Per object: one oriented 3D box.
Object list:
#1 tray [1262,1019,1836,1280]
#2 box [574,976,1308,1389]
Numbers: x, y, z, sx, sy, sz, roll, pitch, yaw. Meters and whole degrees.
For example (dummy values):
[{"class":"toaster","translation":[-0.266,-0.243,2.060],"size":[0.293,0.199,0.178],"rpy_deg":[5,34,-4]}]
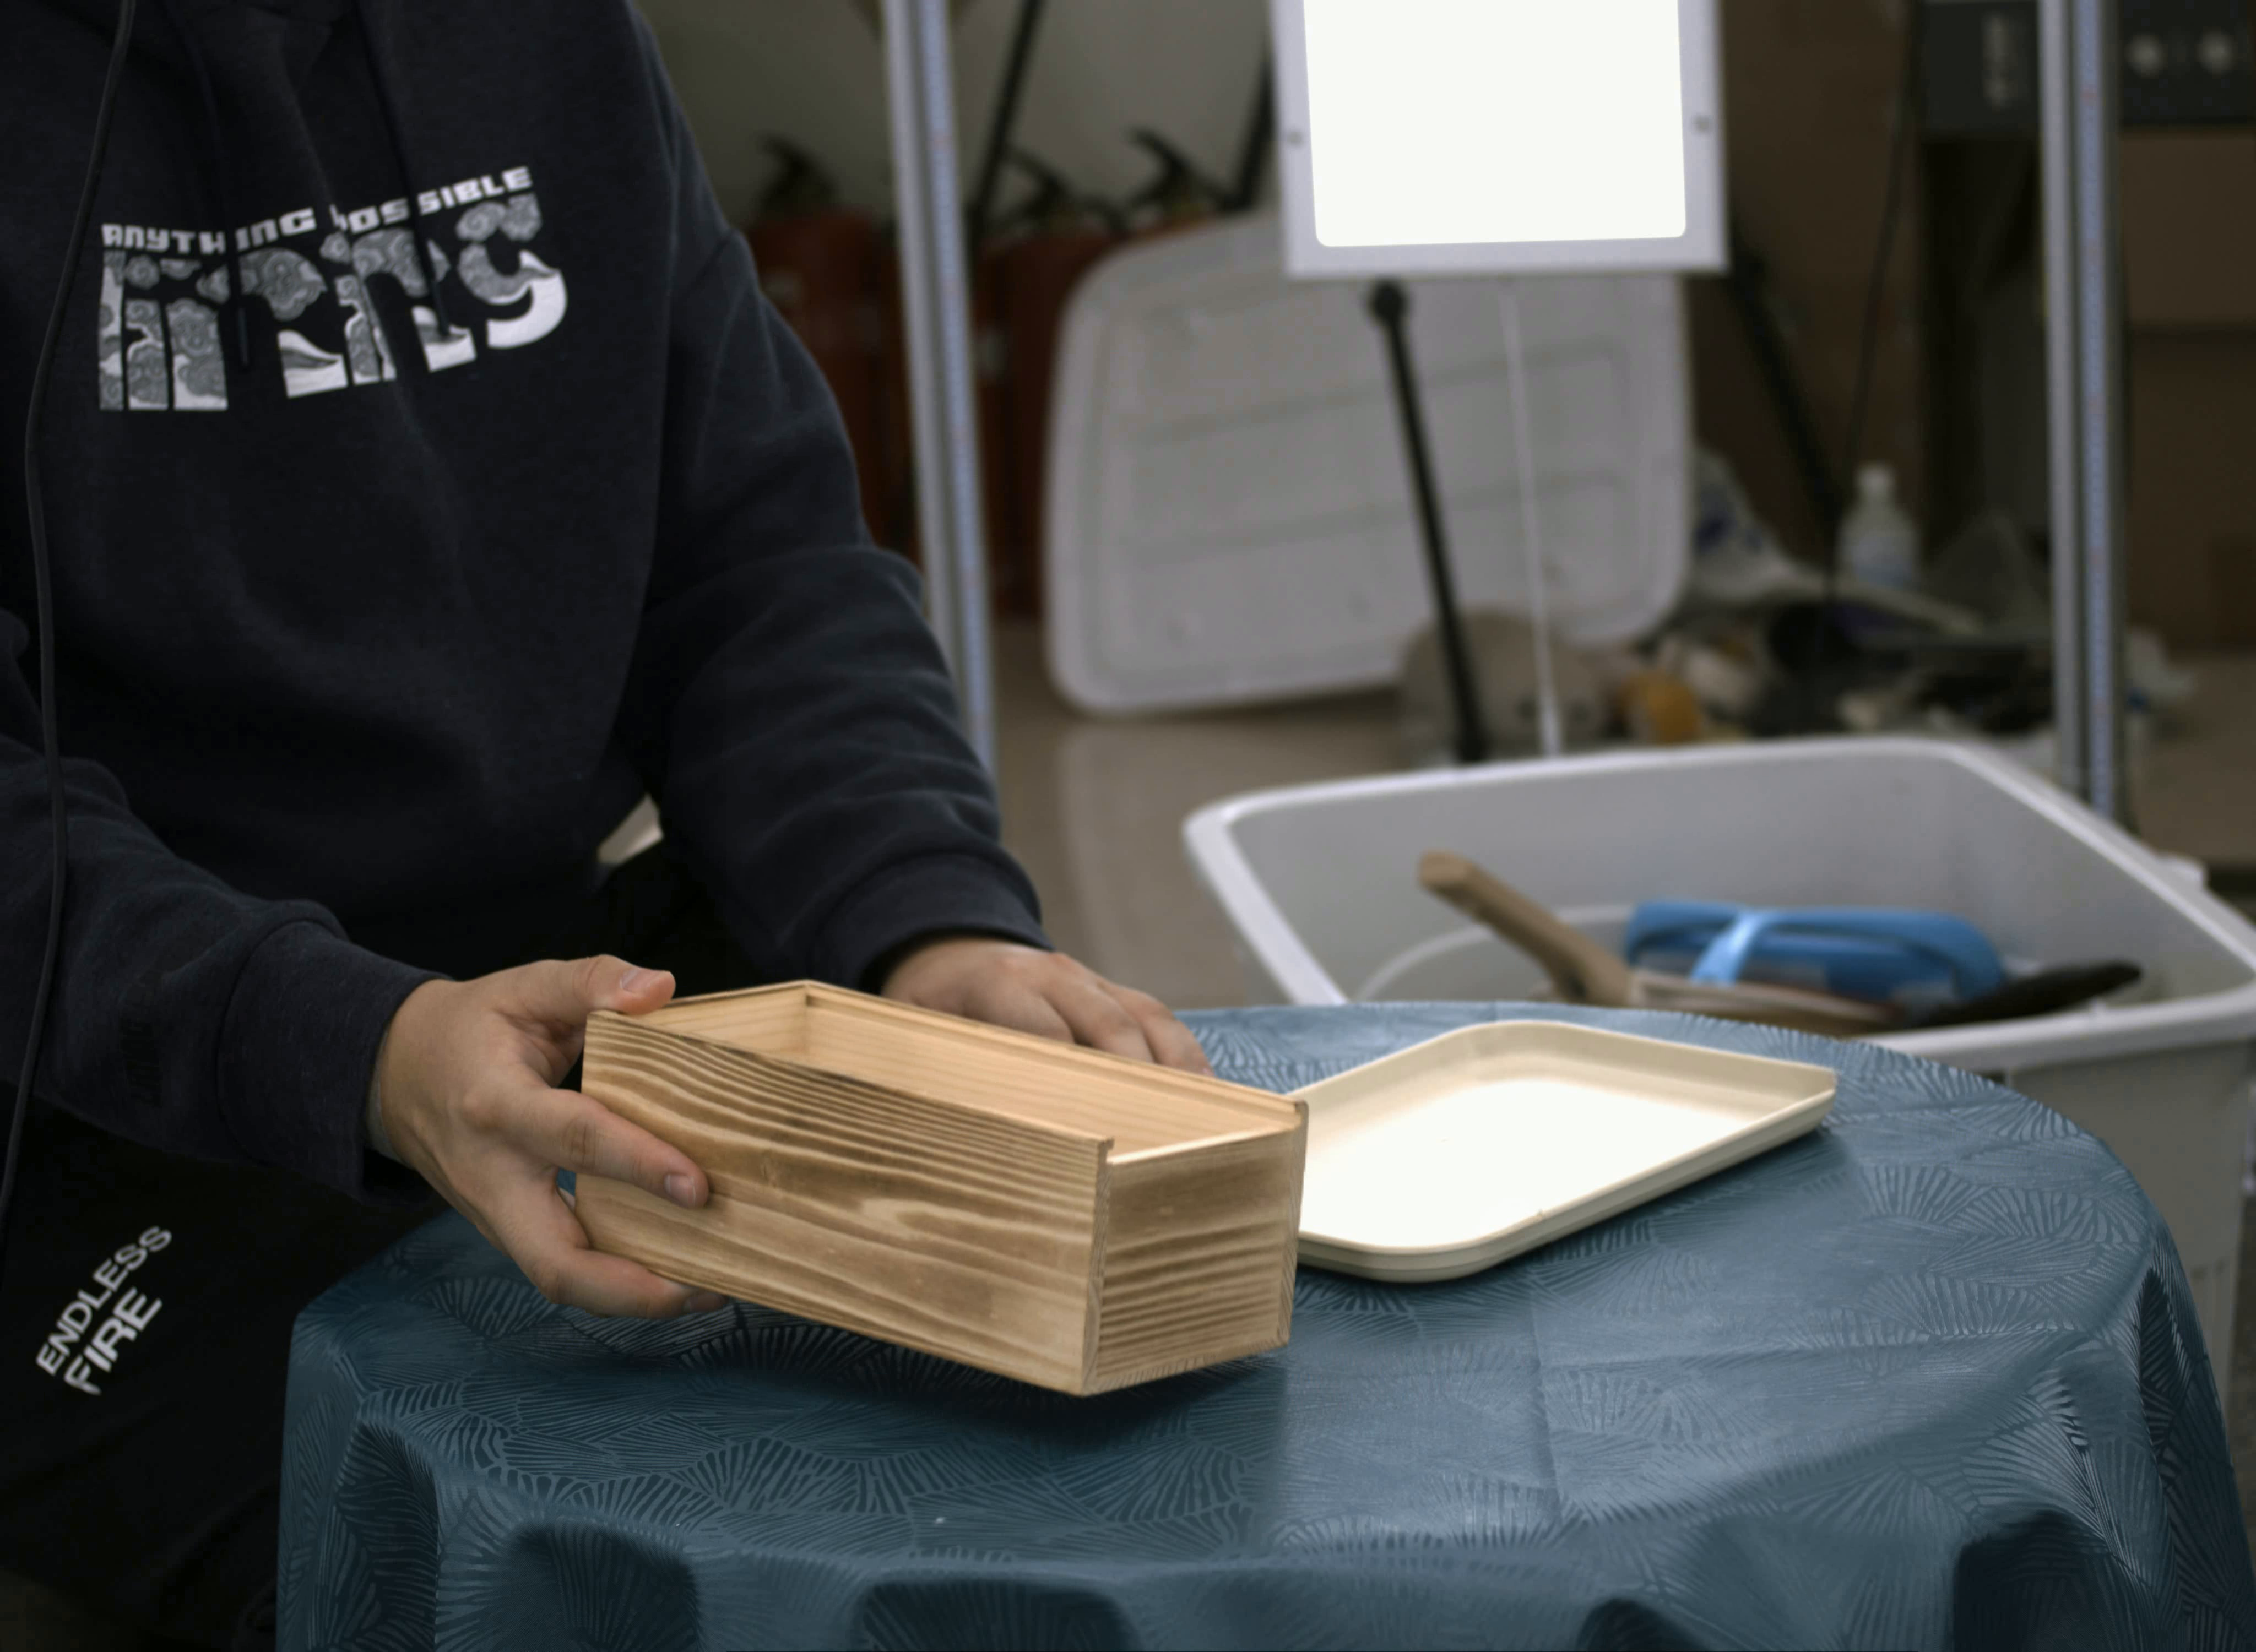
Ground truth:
[{"class":"tray","translation":[0.118,0.110,1.887],"size":[0.233,0.017,0.175],"rpy_deg":[-18,18,-42]},{"class":"box","translation":[-0.061,0.109,1.736],"size":[0.216,0.080,0.105],"rpy_deg":[11,12,38]}]
